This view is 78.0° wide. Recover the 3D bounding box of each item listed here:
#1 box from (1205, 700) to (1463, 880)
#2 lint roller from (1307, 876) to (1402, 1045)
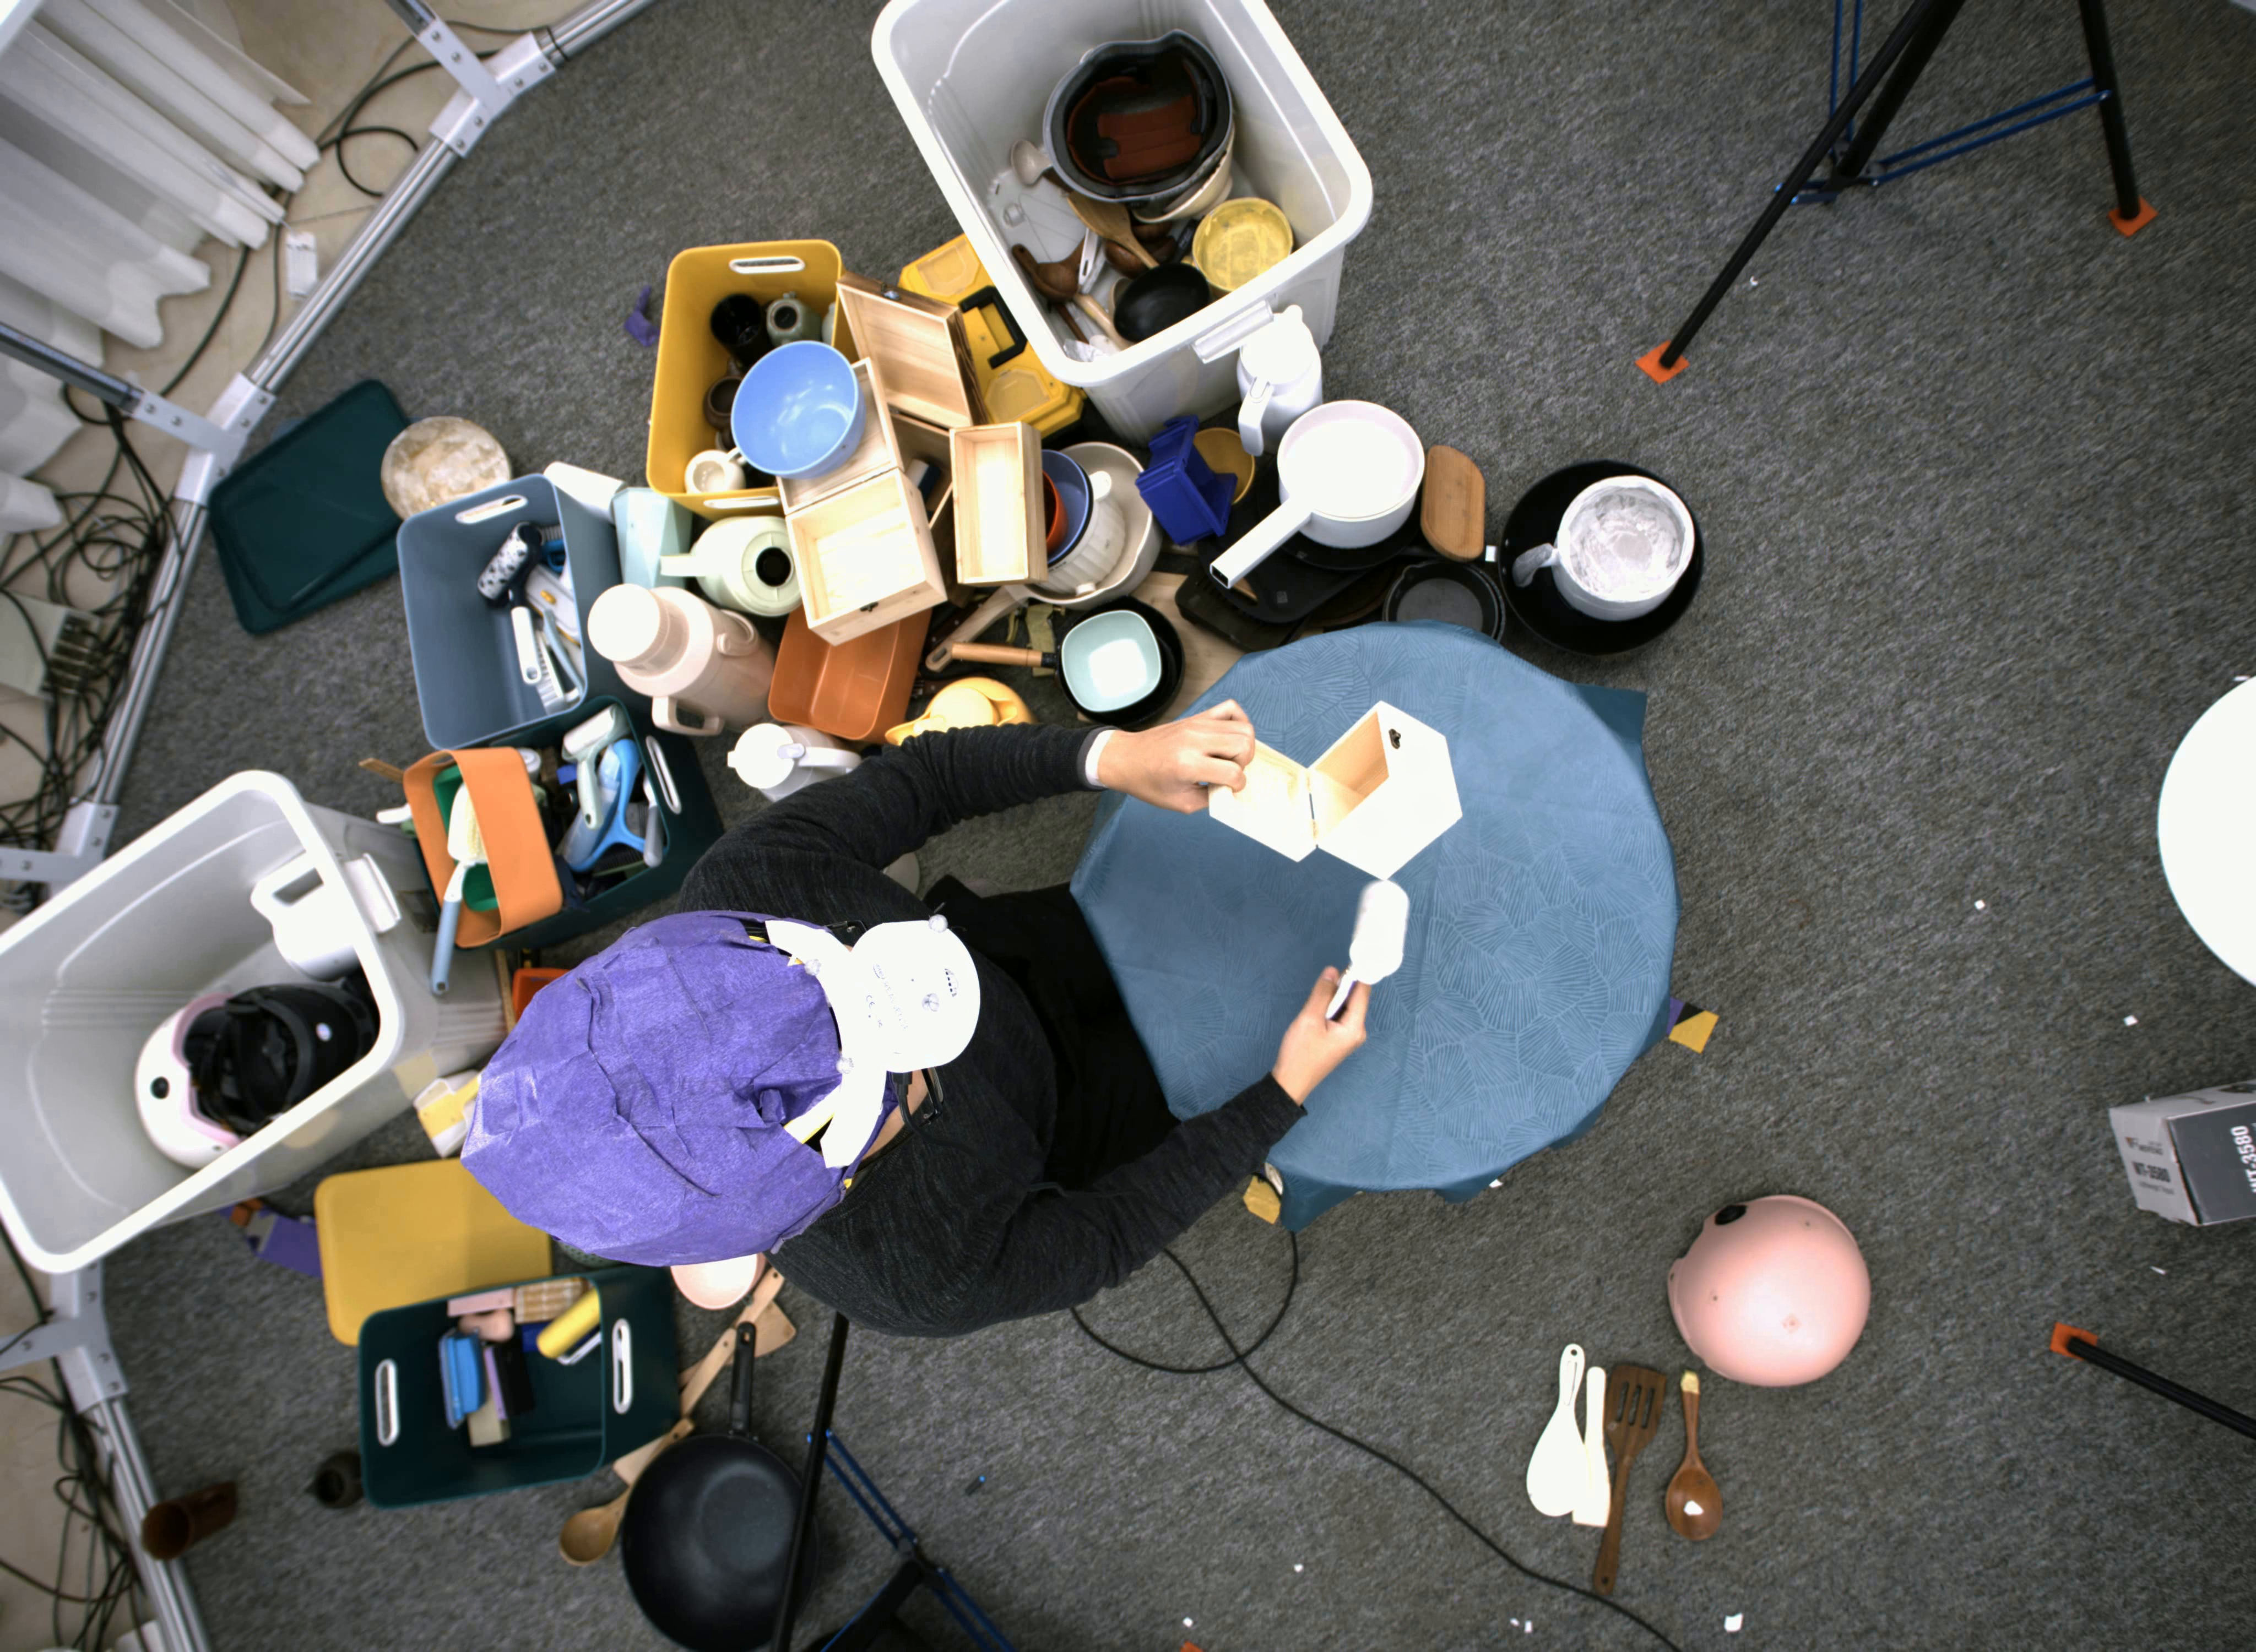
[{"bbox_3d":[0.175,-0.048,1.194,0.185,0.100,0.137,25,132,-22],"label":"box"},{"bbox_3d":[0.217,0.146,1.329,0.050,0.130,0.185,16,121,4],"label":"lint roller"}]
